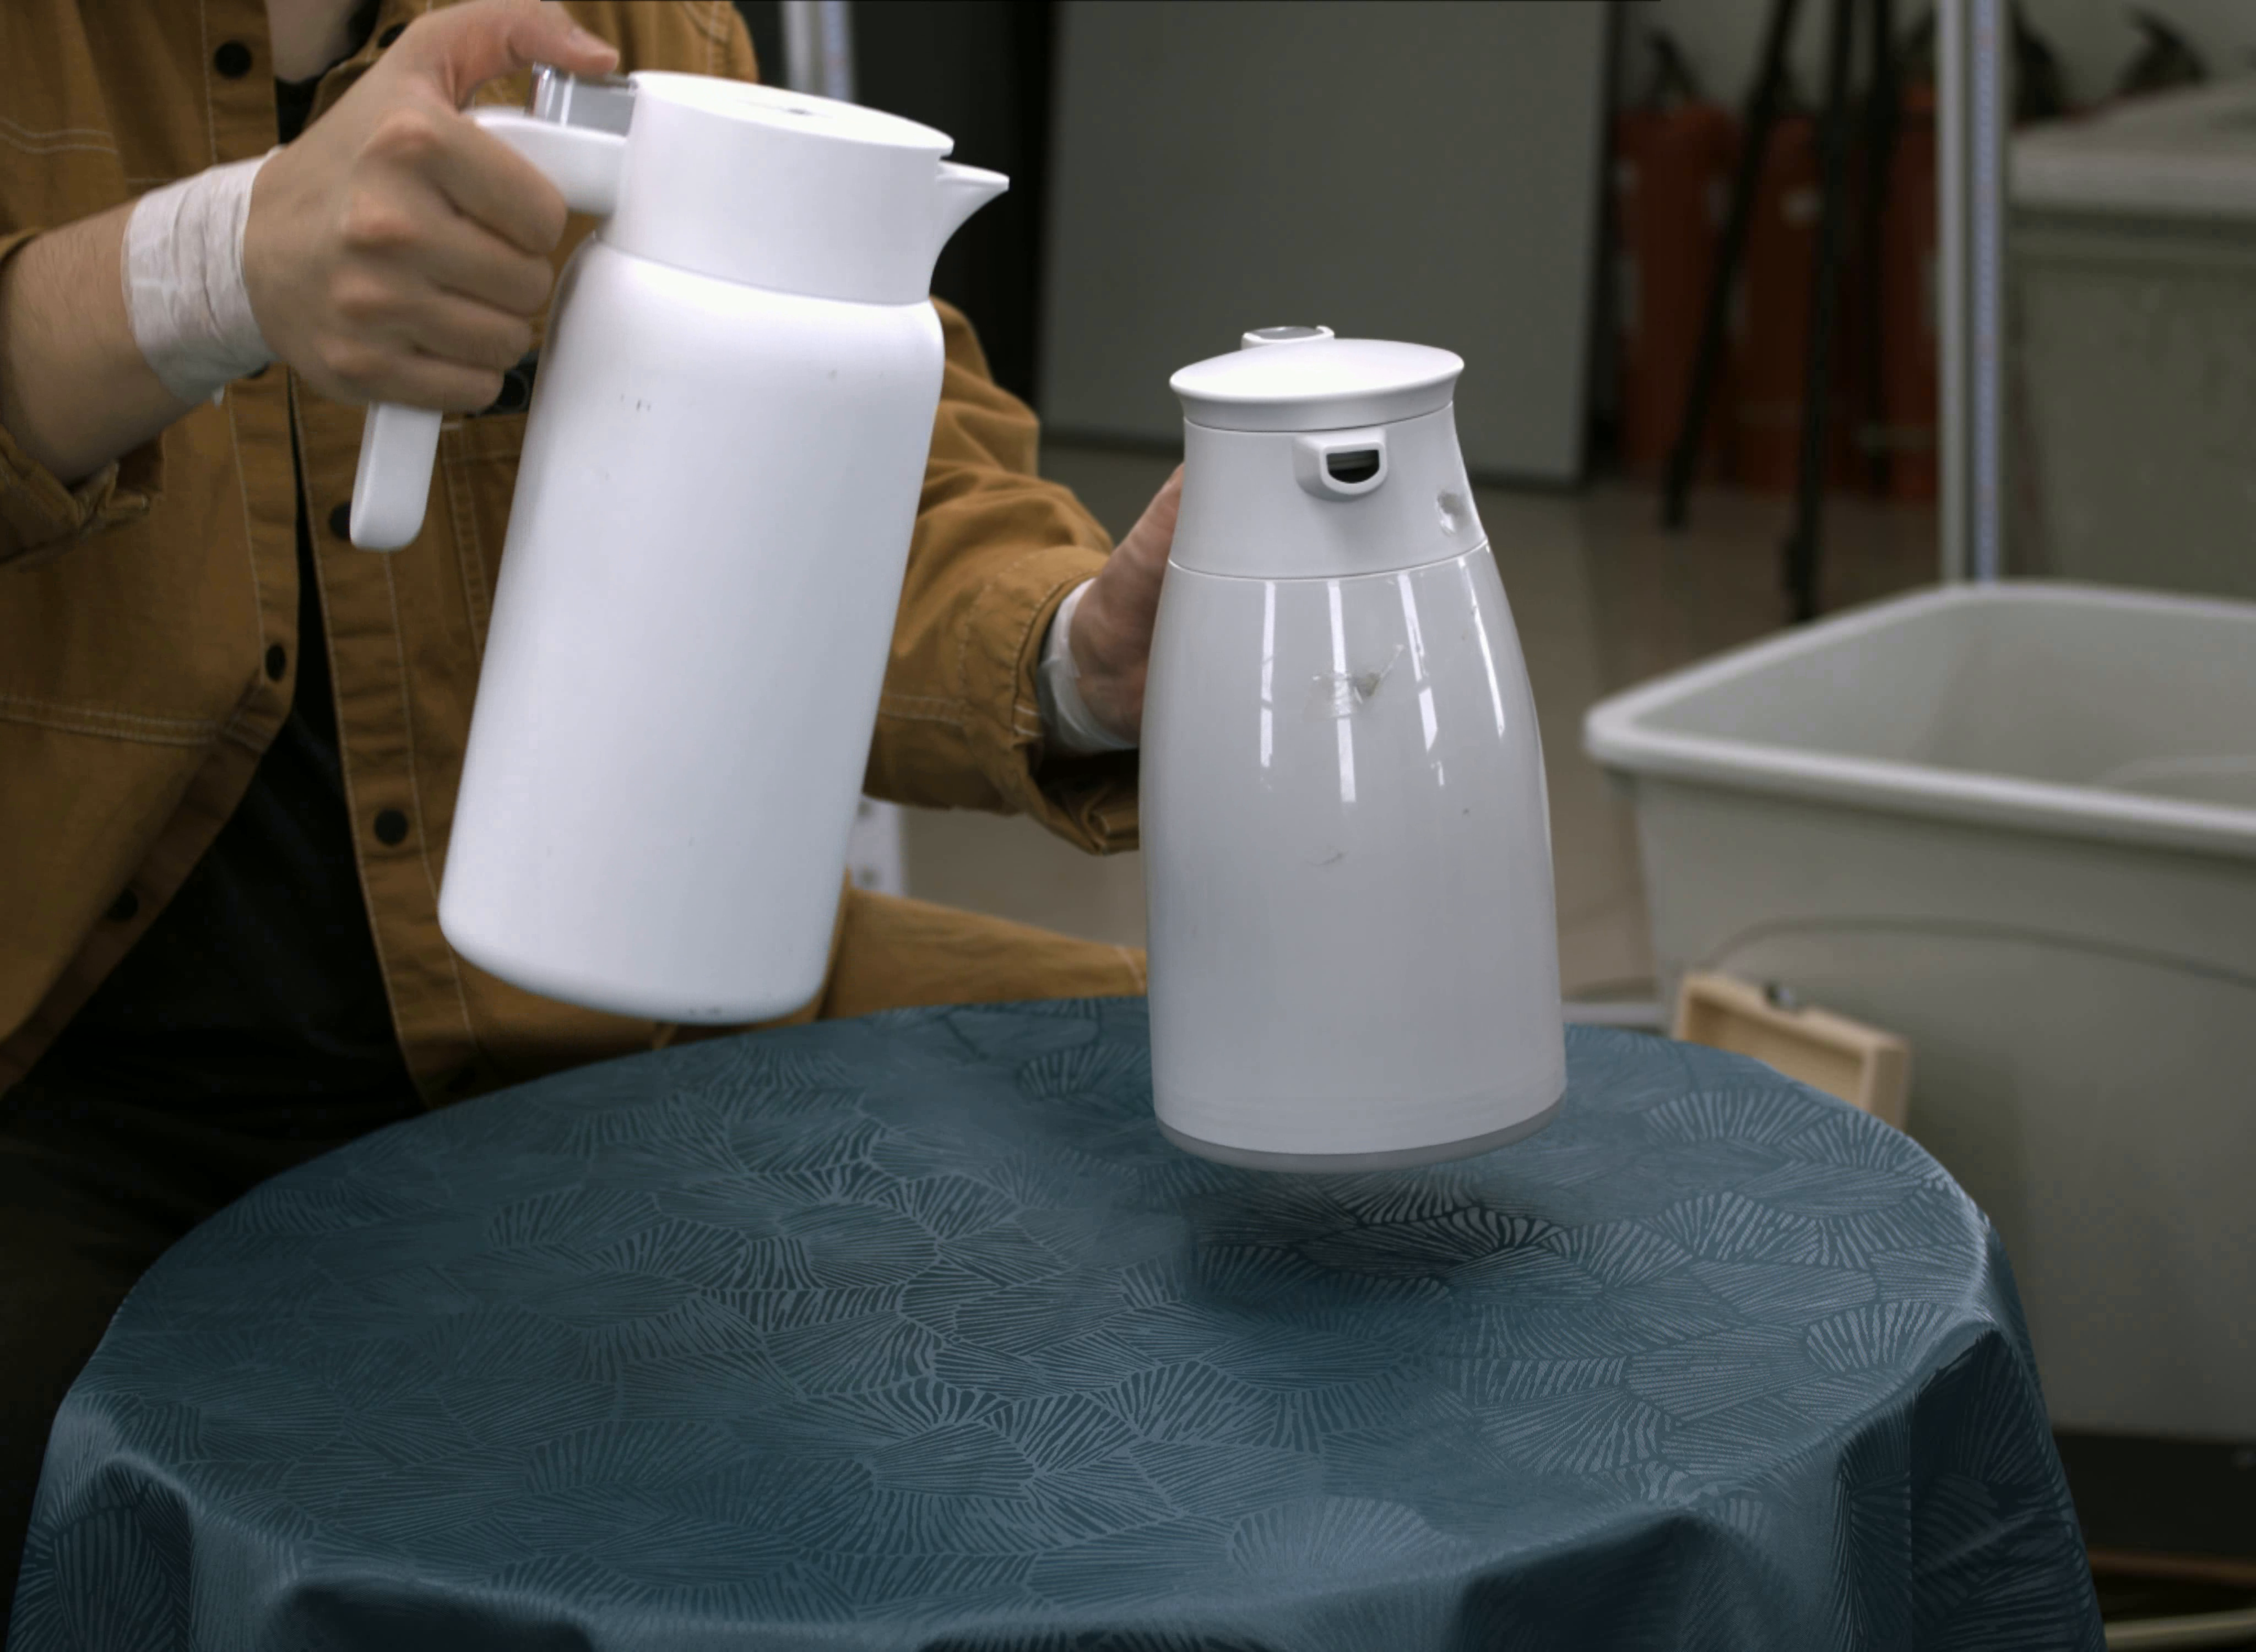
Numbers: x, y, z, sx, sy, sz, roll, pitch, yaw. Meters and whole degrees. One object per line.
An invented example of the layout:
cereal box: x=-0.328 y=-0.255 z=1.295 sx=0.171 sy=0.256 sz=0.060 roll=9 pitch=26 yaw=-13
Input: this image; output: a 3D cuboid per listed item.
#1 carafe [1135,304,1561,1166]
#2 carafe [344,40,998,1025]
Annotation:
carafe: x=0.060 y=-0.036 z=1.697 sx=0.130 sy=0.251 sz=0.168 roll=-6 pitch=12 yaw=-7
carafe: x=-0.141 y=-0.086 z=1.575 sx=0.169 sy=0.272 sz=0.124 roll=7 pitch=14 yaw=-14
